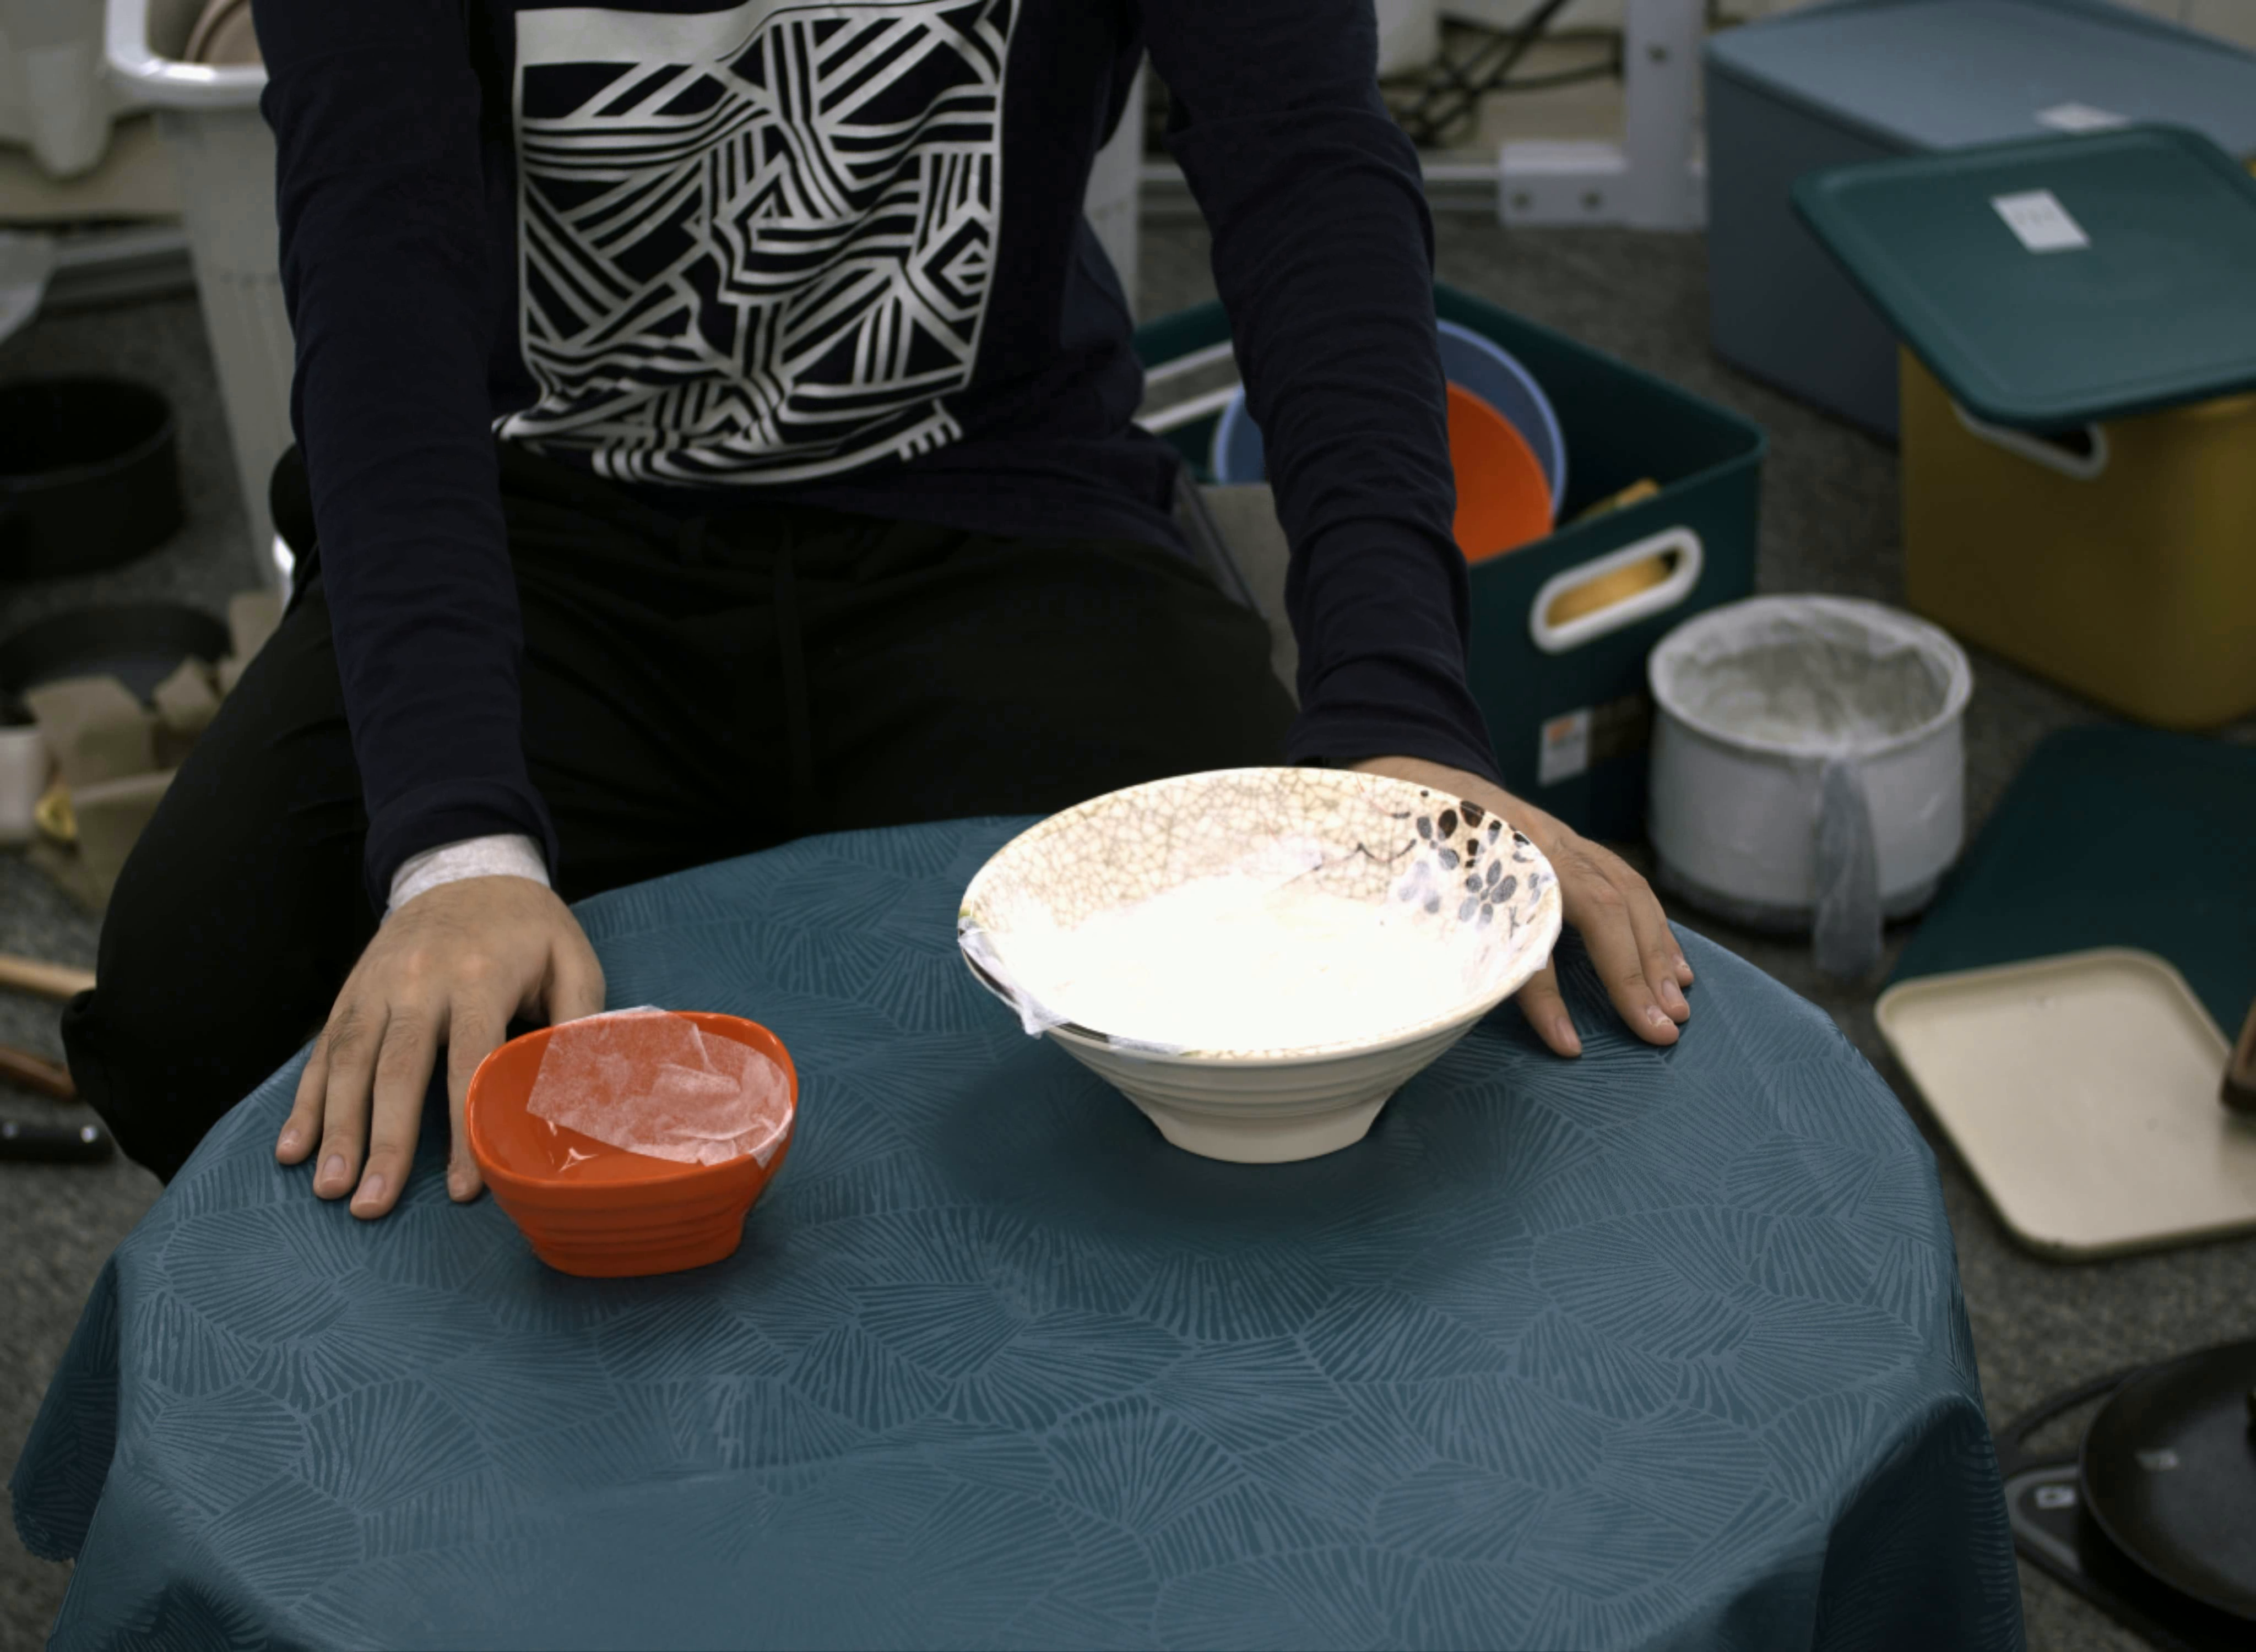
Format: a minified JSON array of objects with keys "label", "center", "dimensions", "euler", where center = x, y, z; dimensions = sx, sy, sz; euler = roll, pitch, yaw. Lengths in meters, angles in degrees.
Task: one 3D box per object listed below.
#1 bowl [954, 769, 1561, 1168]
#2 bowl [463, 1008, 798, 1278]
[{"label":"bowl","center":[0.044,0.060,1.894],"dimensions":[0.203,0.077,0.207],"euler":[-2,27,1]},{"label":"bowl","center":[-0.161,0.109,1.845],"dimensions":[0.118,0.051,0.121],"euler":[-3,27,2]}]
